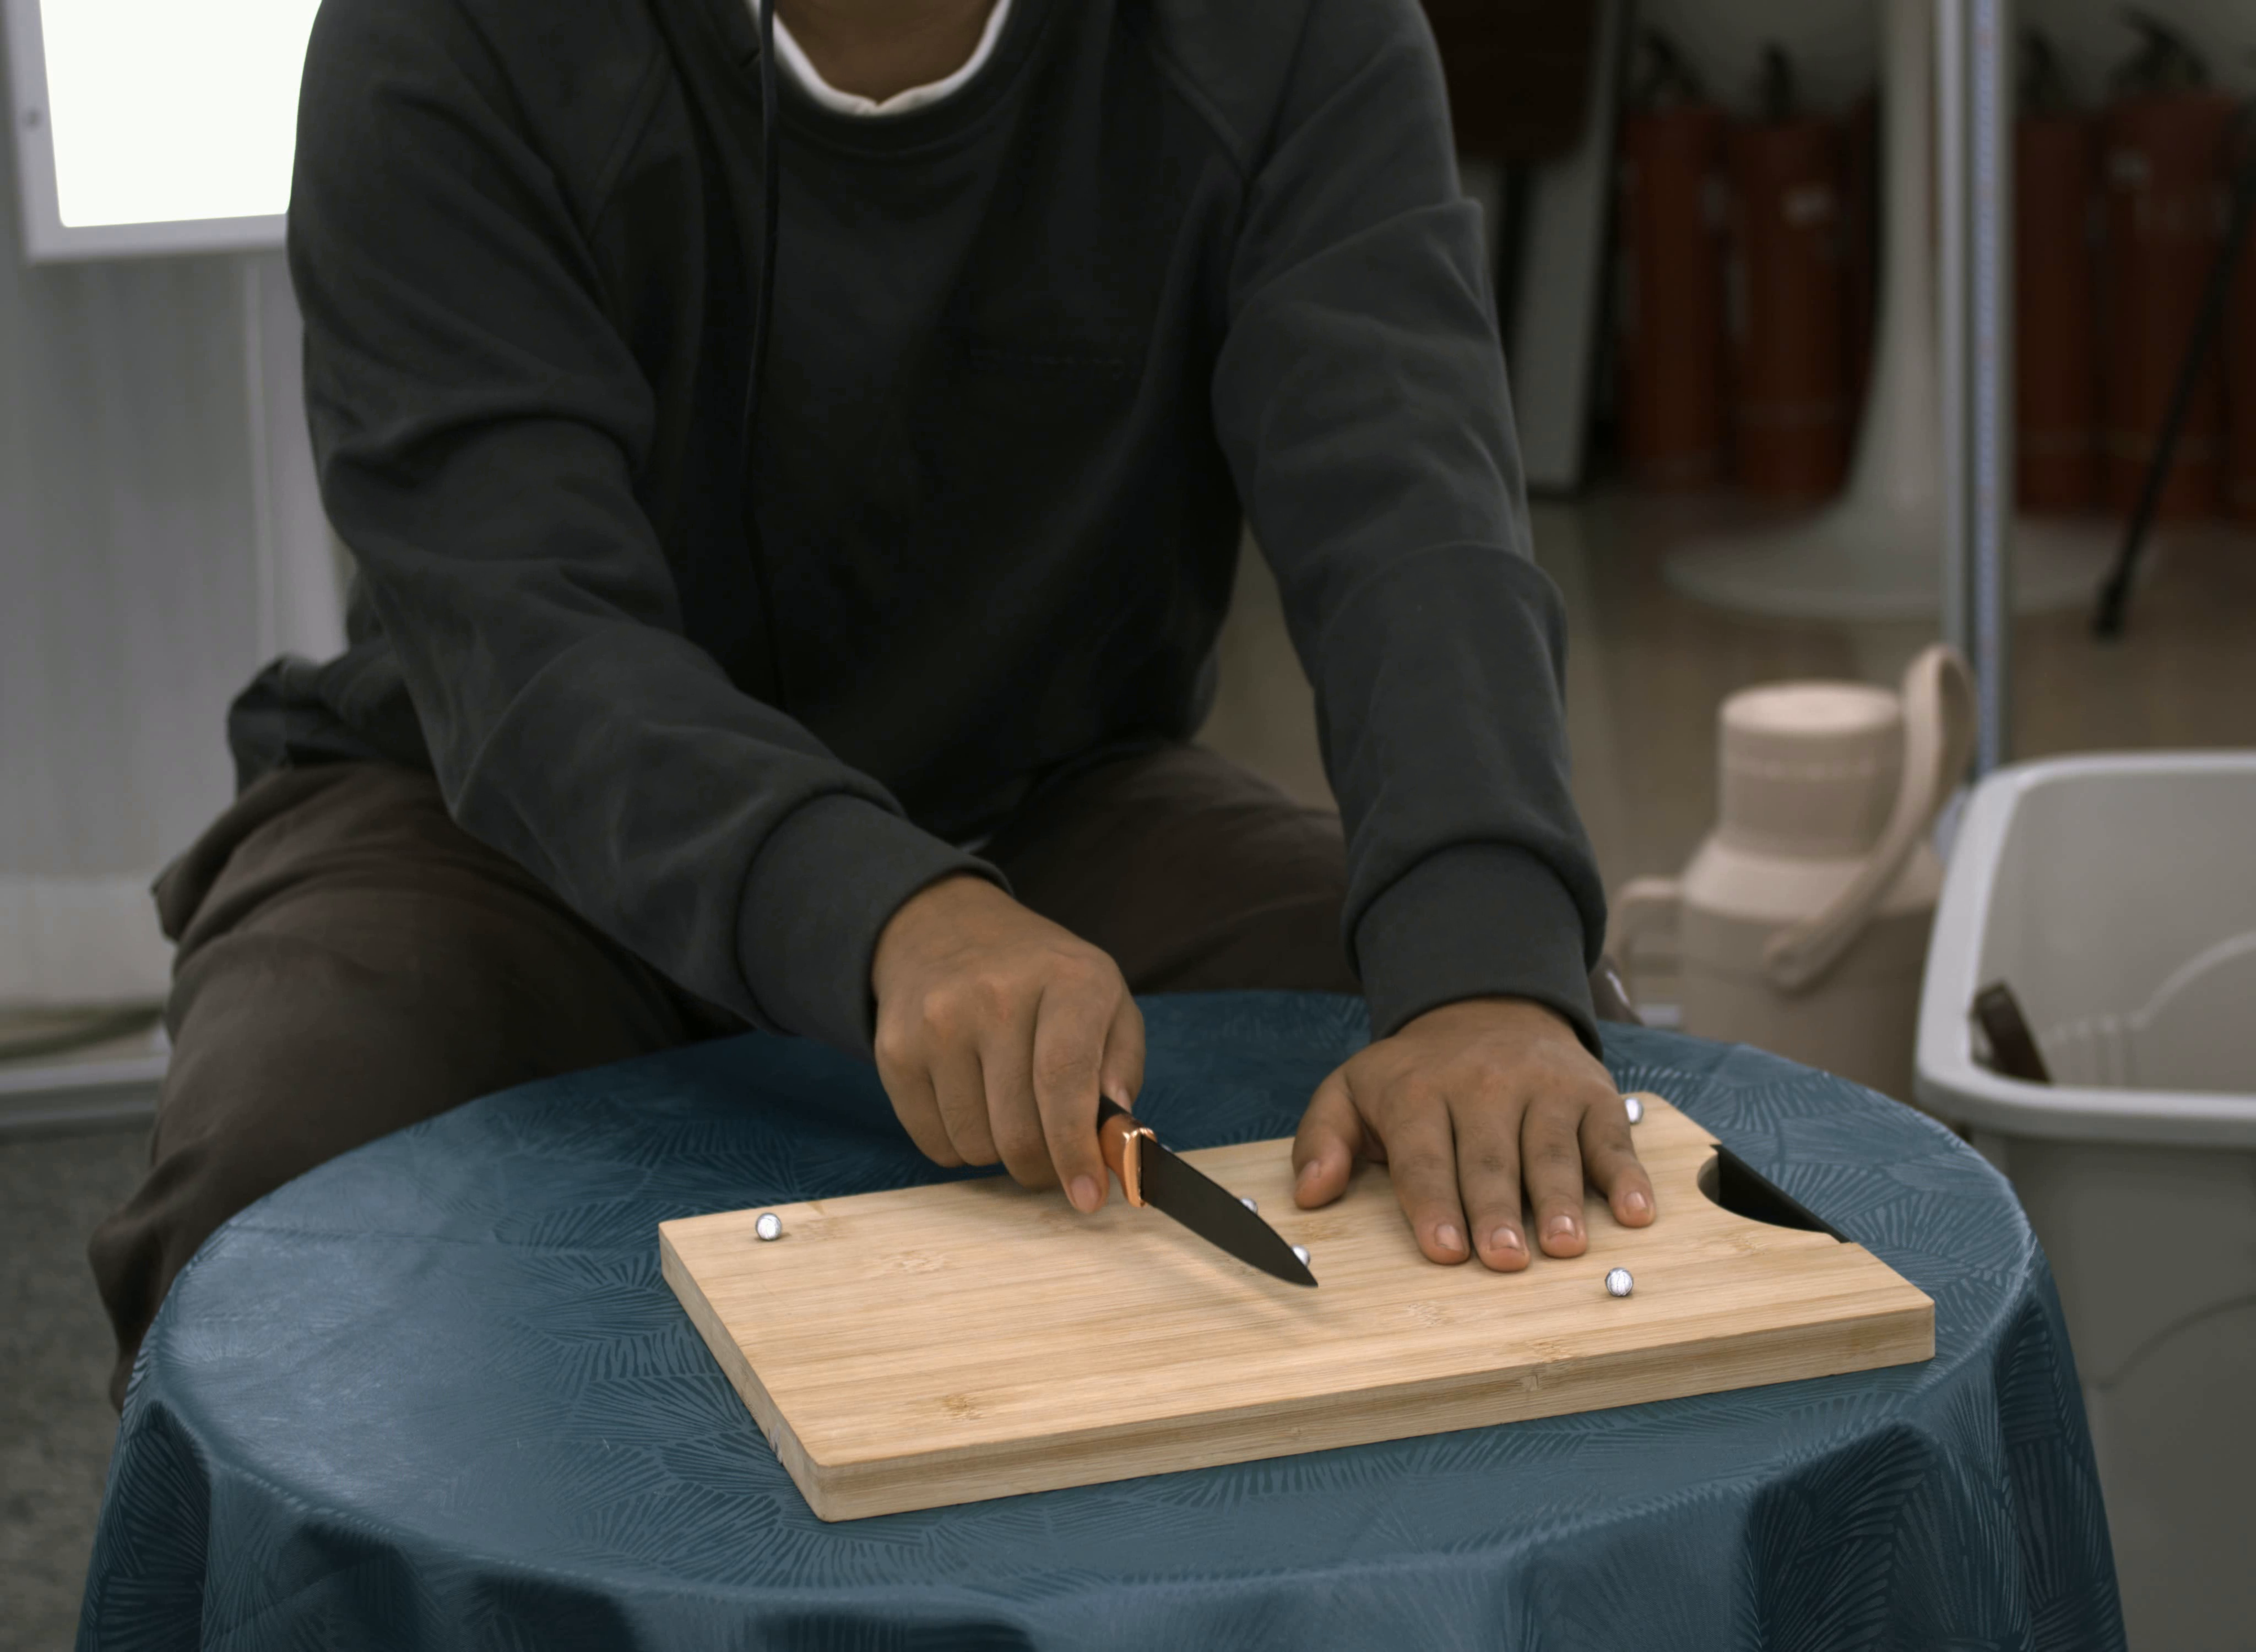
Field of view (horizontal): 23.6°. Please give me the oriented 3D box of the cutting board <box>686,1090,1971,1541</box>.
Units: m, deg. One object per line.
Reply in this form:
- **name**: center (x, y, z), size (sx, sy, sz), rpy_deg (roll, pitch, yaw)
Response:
- **cutting board**: center (0.050, 0.142, 1.642), size (0.342, 0.024, 0.253), rpy_deg (-8, 15, -14)

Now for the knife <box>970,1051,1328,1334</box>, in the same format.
- **knife**: center (0.006, 0.110, 1.659), size (0.017, 0.026, 0.228), rpy_deg (-3, 17, -28)
